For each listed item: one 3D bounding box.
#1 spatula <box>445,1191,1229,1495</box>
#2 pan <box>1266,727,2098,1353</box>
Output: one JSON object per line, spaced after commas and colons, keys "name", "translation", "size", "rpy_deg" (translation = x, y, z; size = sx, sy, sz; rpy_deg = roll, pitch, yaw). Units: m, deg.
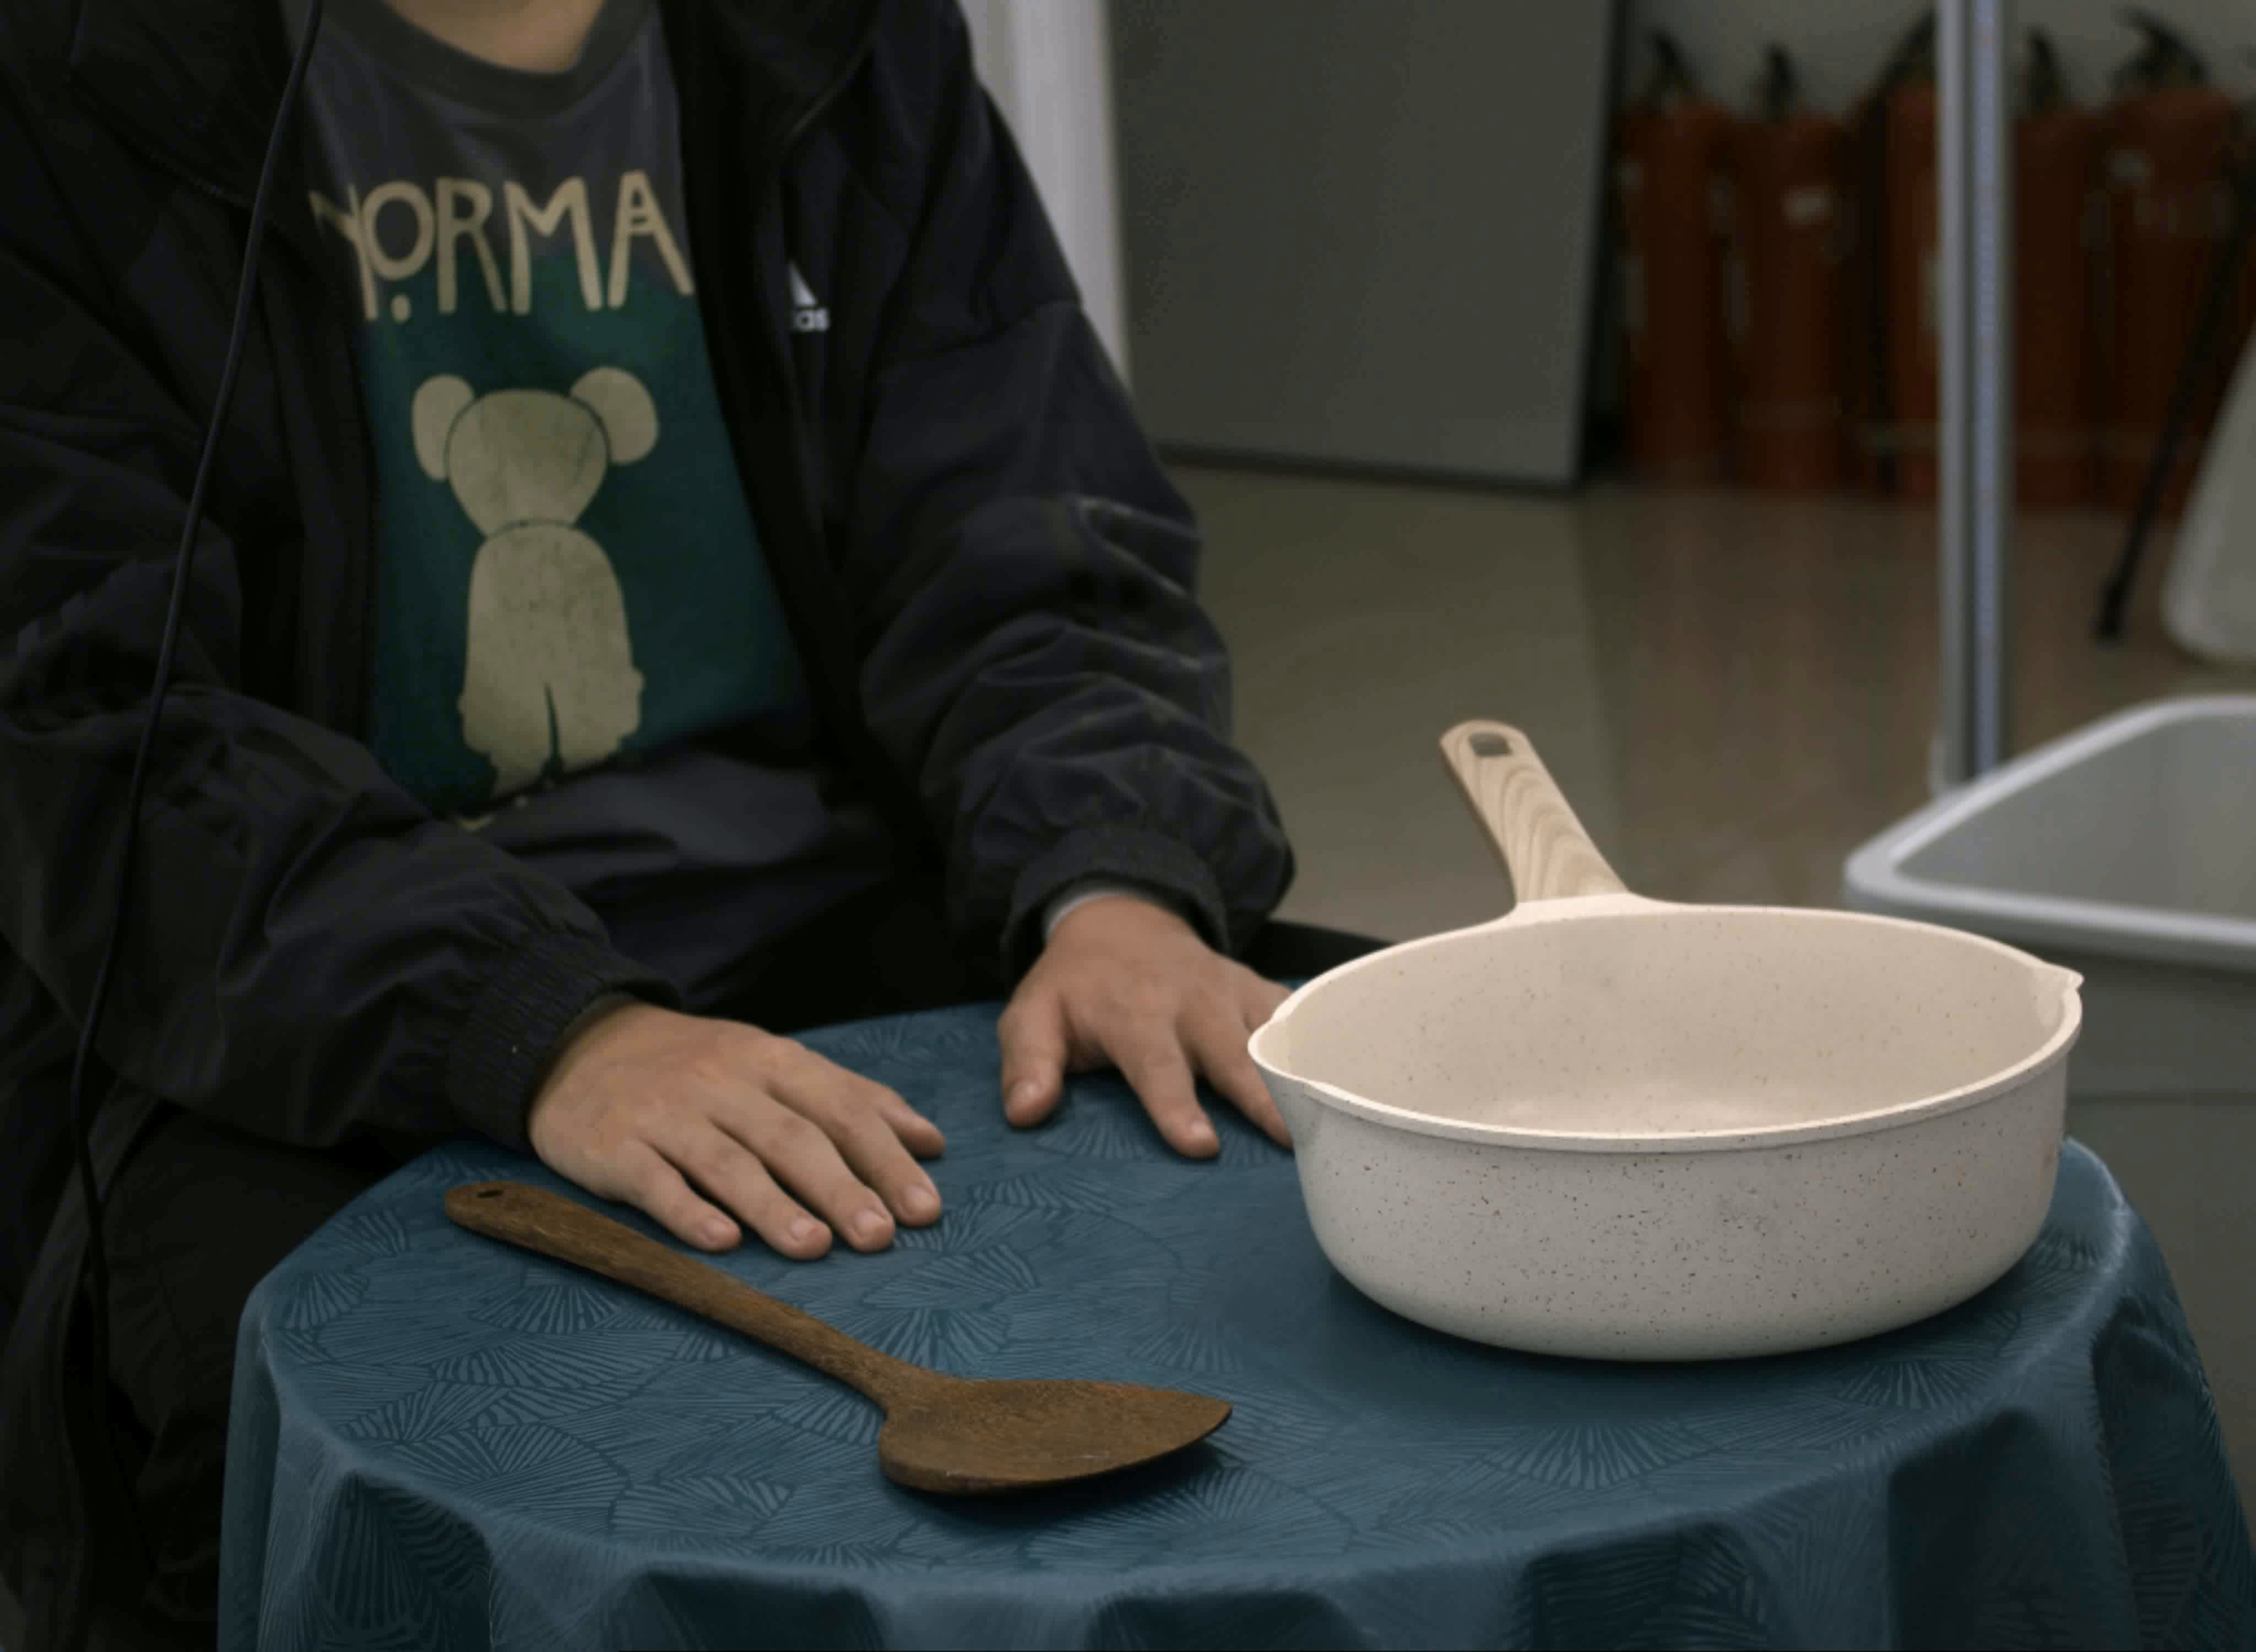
{"name": "spatula", "translation": [-0.110, 0.153, 1.650], "size": [0.094, 0.016, 0.390], "rpy_deg": [-13, 16, -33]}
{"name": "pan", "translation": [0.161, 0.064, 1.744], "size": [0.259, 0.103, 0.437], "rpy_deg": [-7, 14, -6]}
